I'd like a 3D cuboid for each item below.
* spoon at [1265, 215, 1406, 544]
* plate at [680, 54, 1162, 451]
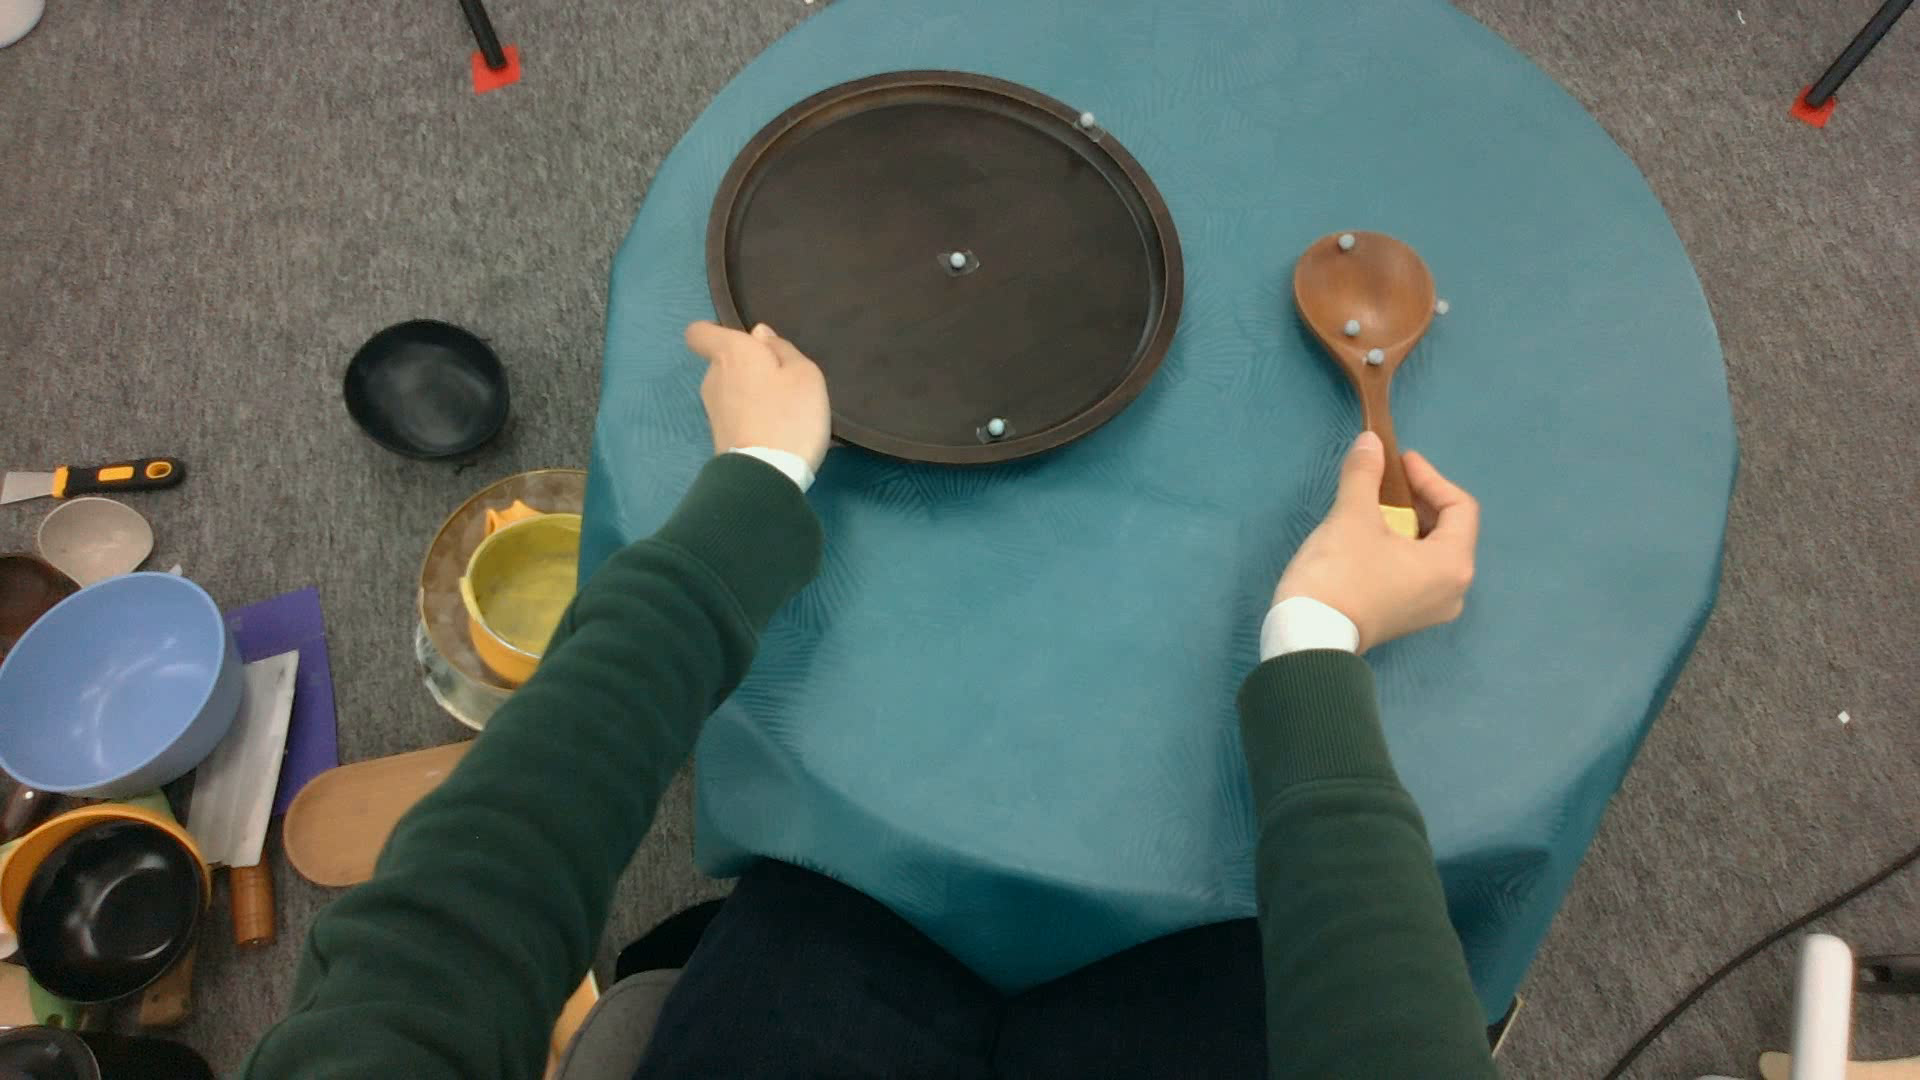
[{"bbox_3d":[0.197,-0.088,0.702,0.075,0.017,0.217,3,54,1],"label":"spoon"},{"bbox_3d":[-0.019,-0.156,0.730,0.255,0.029,0.256,3,63,-5],"label":"plate"}]
